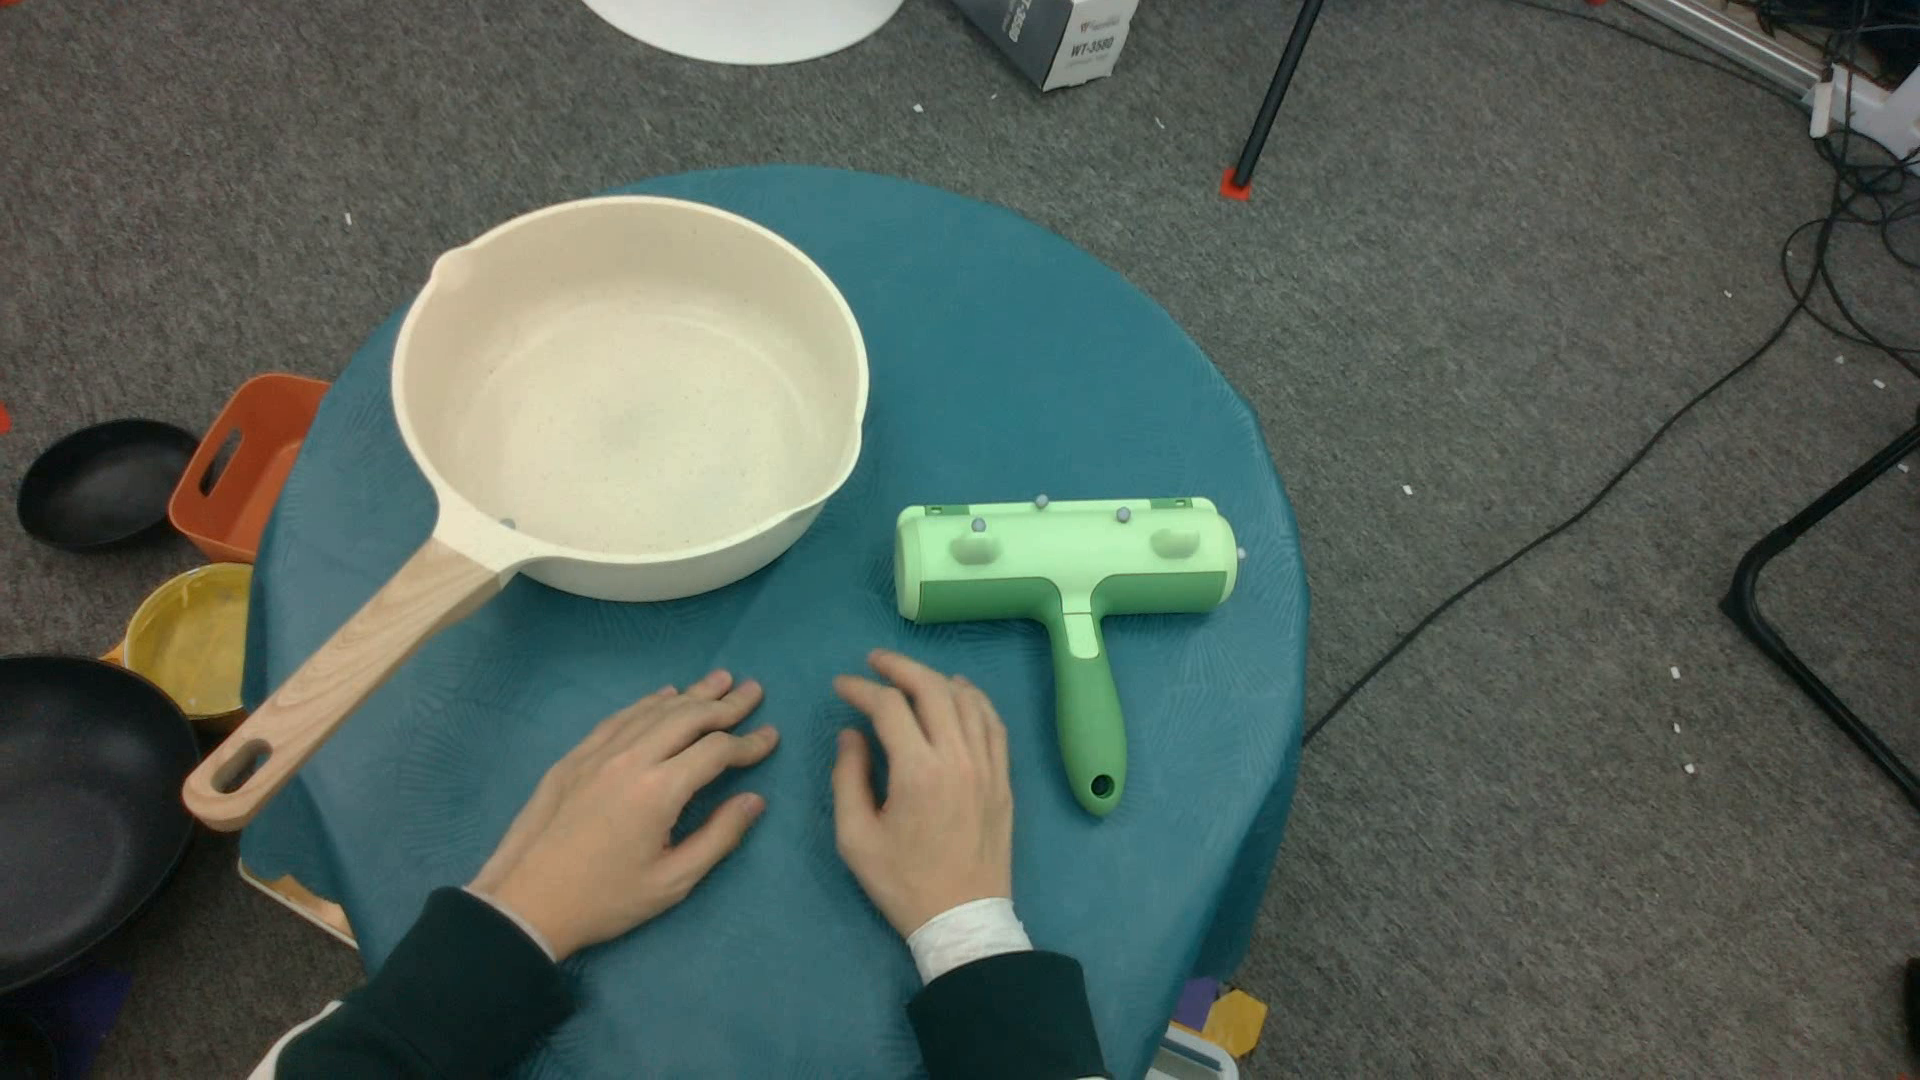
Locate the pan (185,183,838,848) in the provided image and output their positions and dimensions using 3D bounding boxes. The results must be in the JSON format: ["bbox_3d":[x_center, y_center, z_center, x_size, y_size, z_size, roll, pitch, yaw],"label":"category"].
[{"bbox_3d":[-0.236,-0.016,0.731,0.263,0.101,0.437,27,59,5],"label":"pan"}]

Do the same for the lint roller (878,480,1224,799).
[{"bbox_3d":[0.062,0.044,0.757,0.199,0.082,0.184,-3,54,-11],"label":"lint roller"}]
